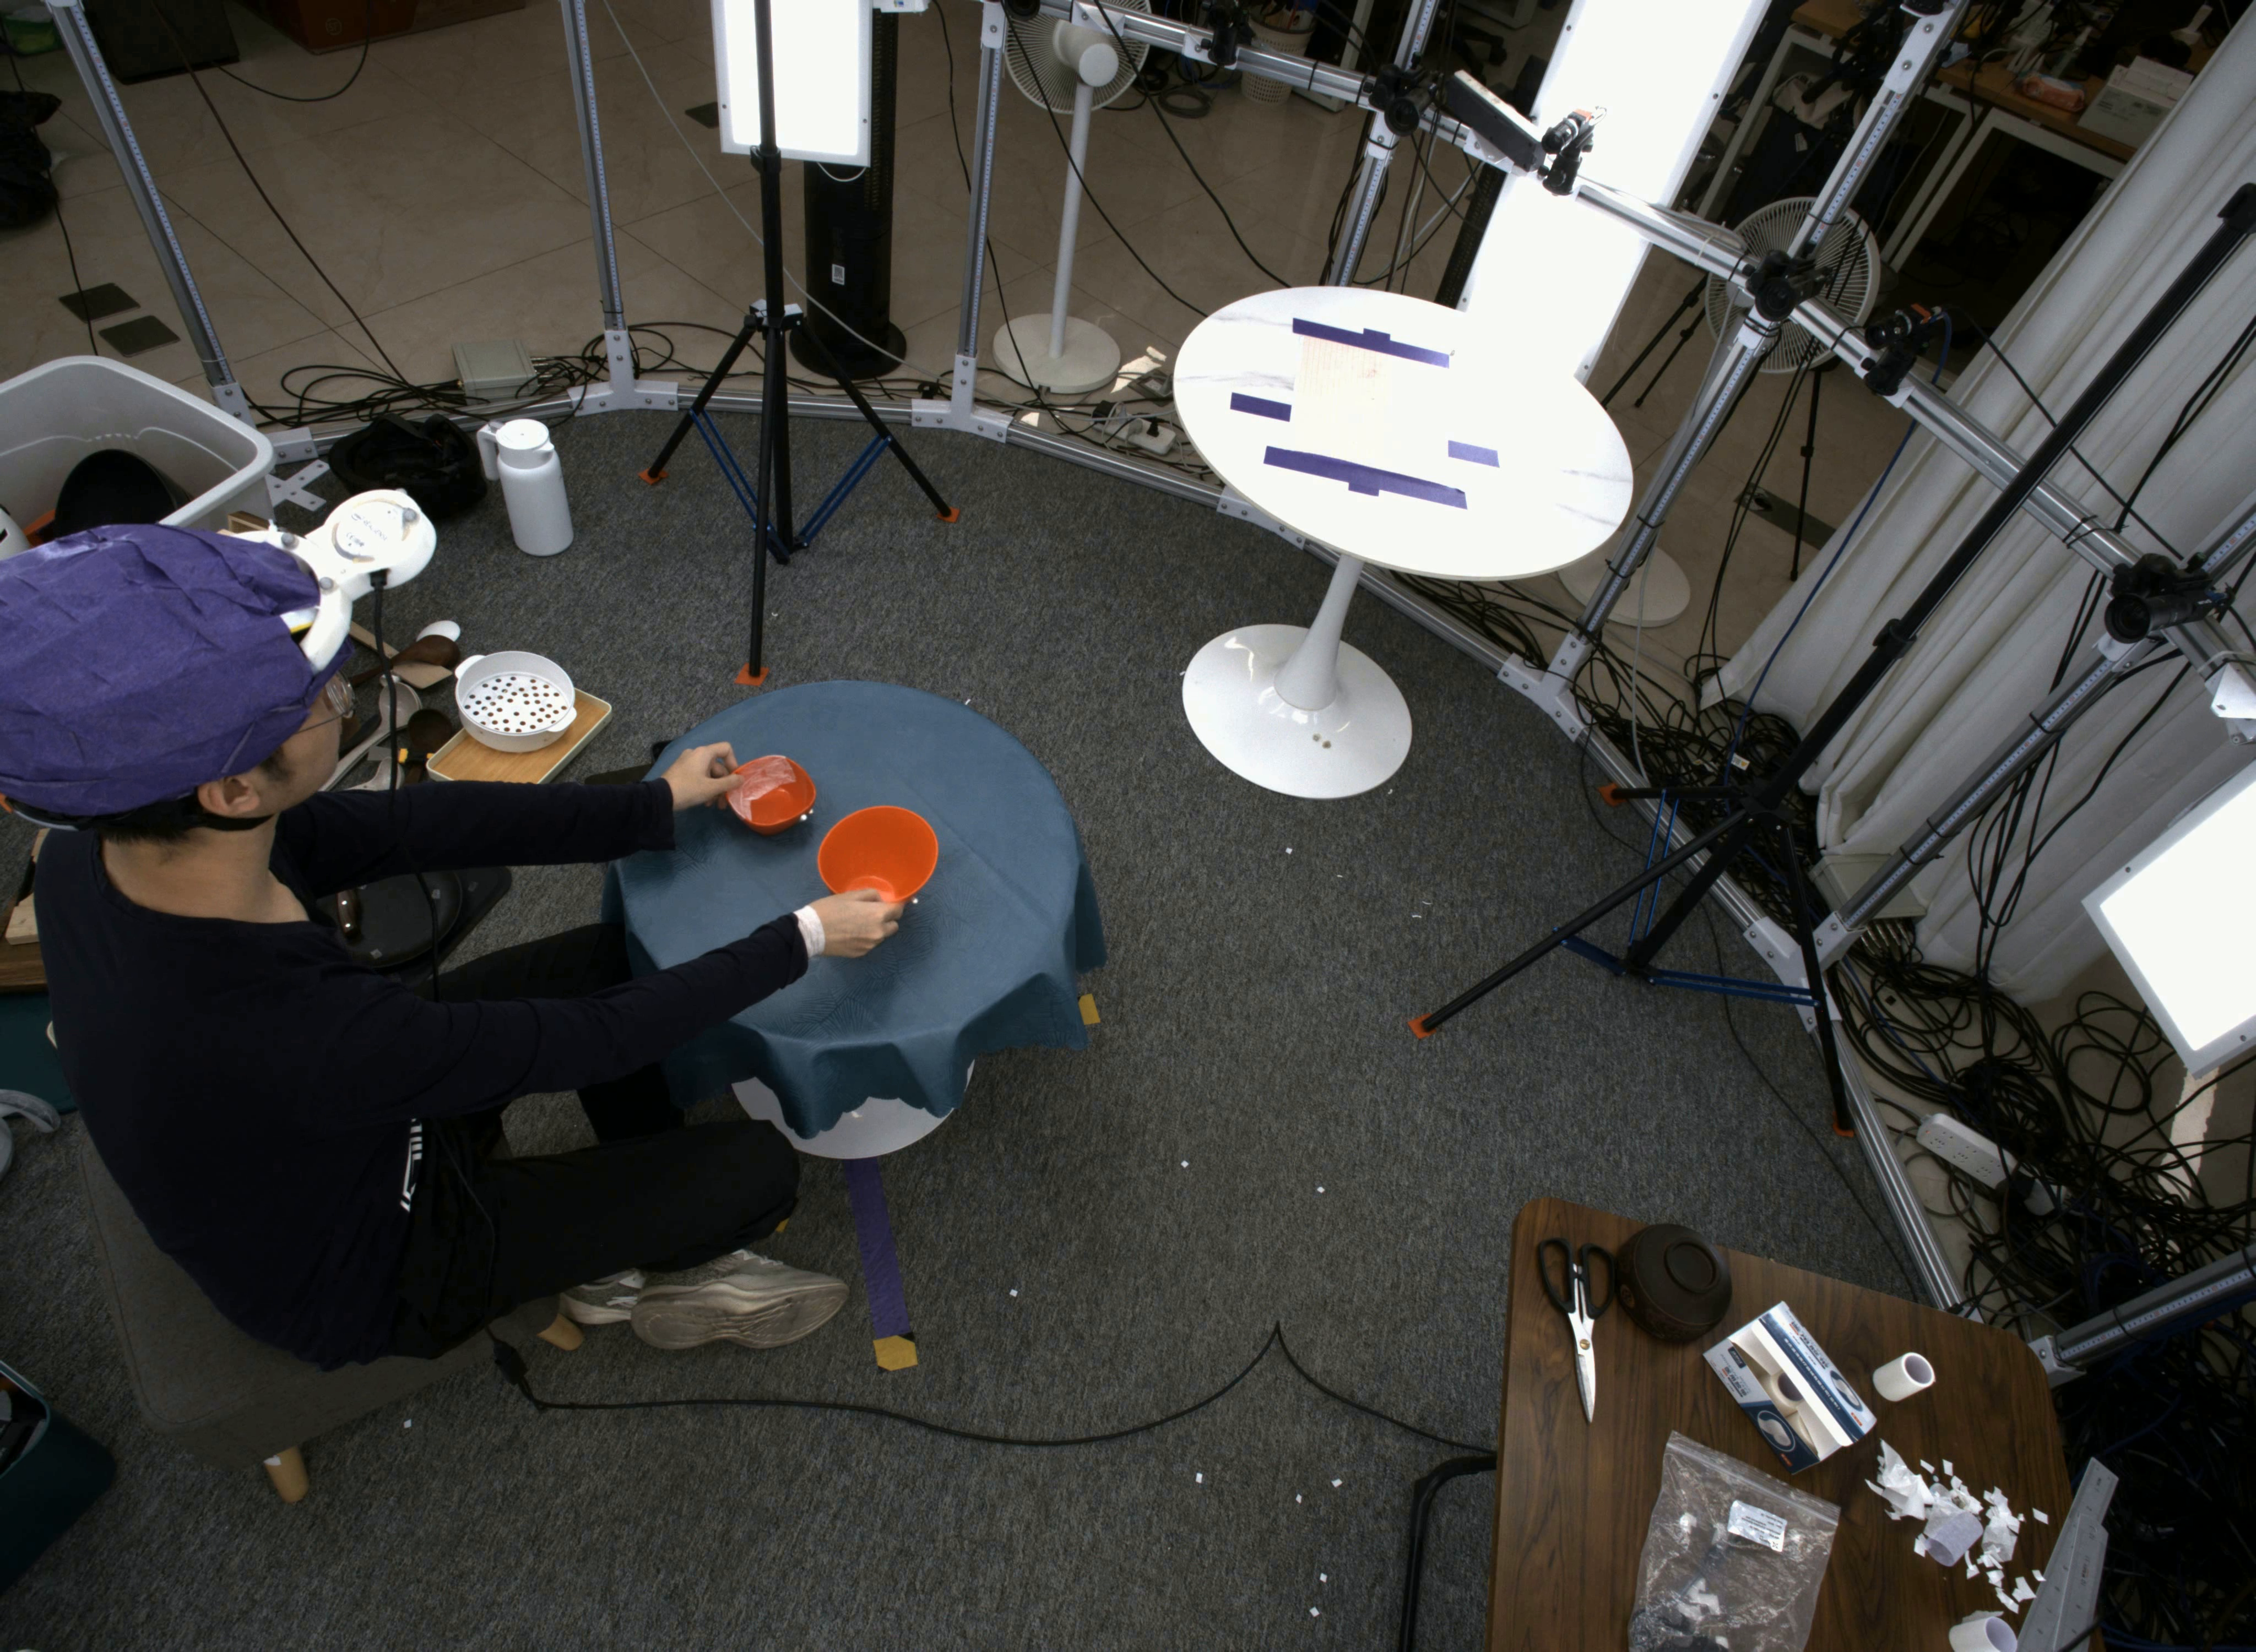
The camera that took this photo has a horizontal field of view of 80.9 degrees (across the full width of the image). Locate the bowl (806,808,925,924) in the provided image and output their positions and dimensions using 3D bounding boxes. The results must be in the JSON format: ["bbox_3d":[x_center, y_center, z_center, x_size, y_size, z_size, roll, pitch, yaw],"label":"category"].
[{"bbox_3d":[-0.332,0.063,1.647,0.148,0.107,0.145,7,52,-8],"label":"bowl"}]

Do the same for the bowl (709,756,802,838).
[{"bbox_3d":[-0.490,-0.031,1.706,0.119,0.052,0.117,9,51,-10],"label":"bowl"}]
